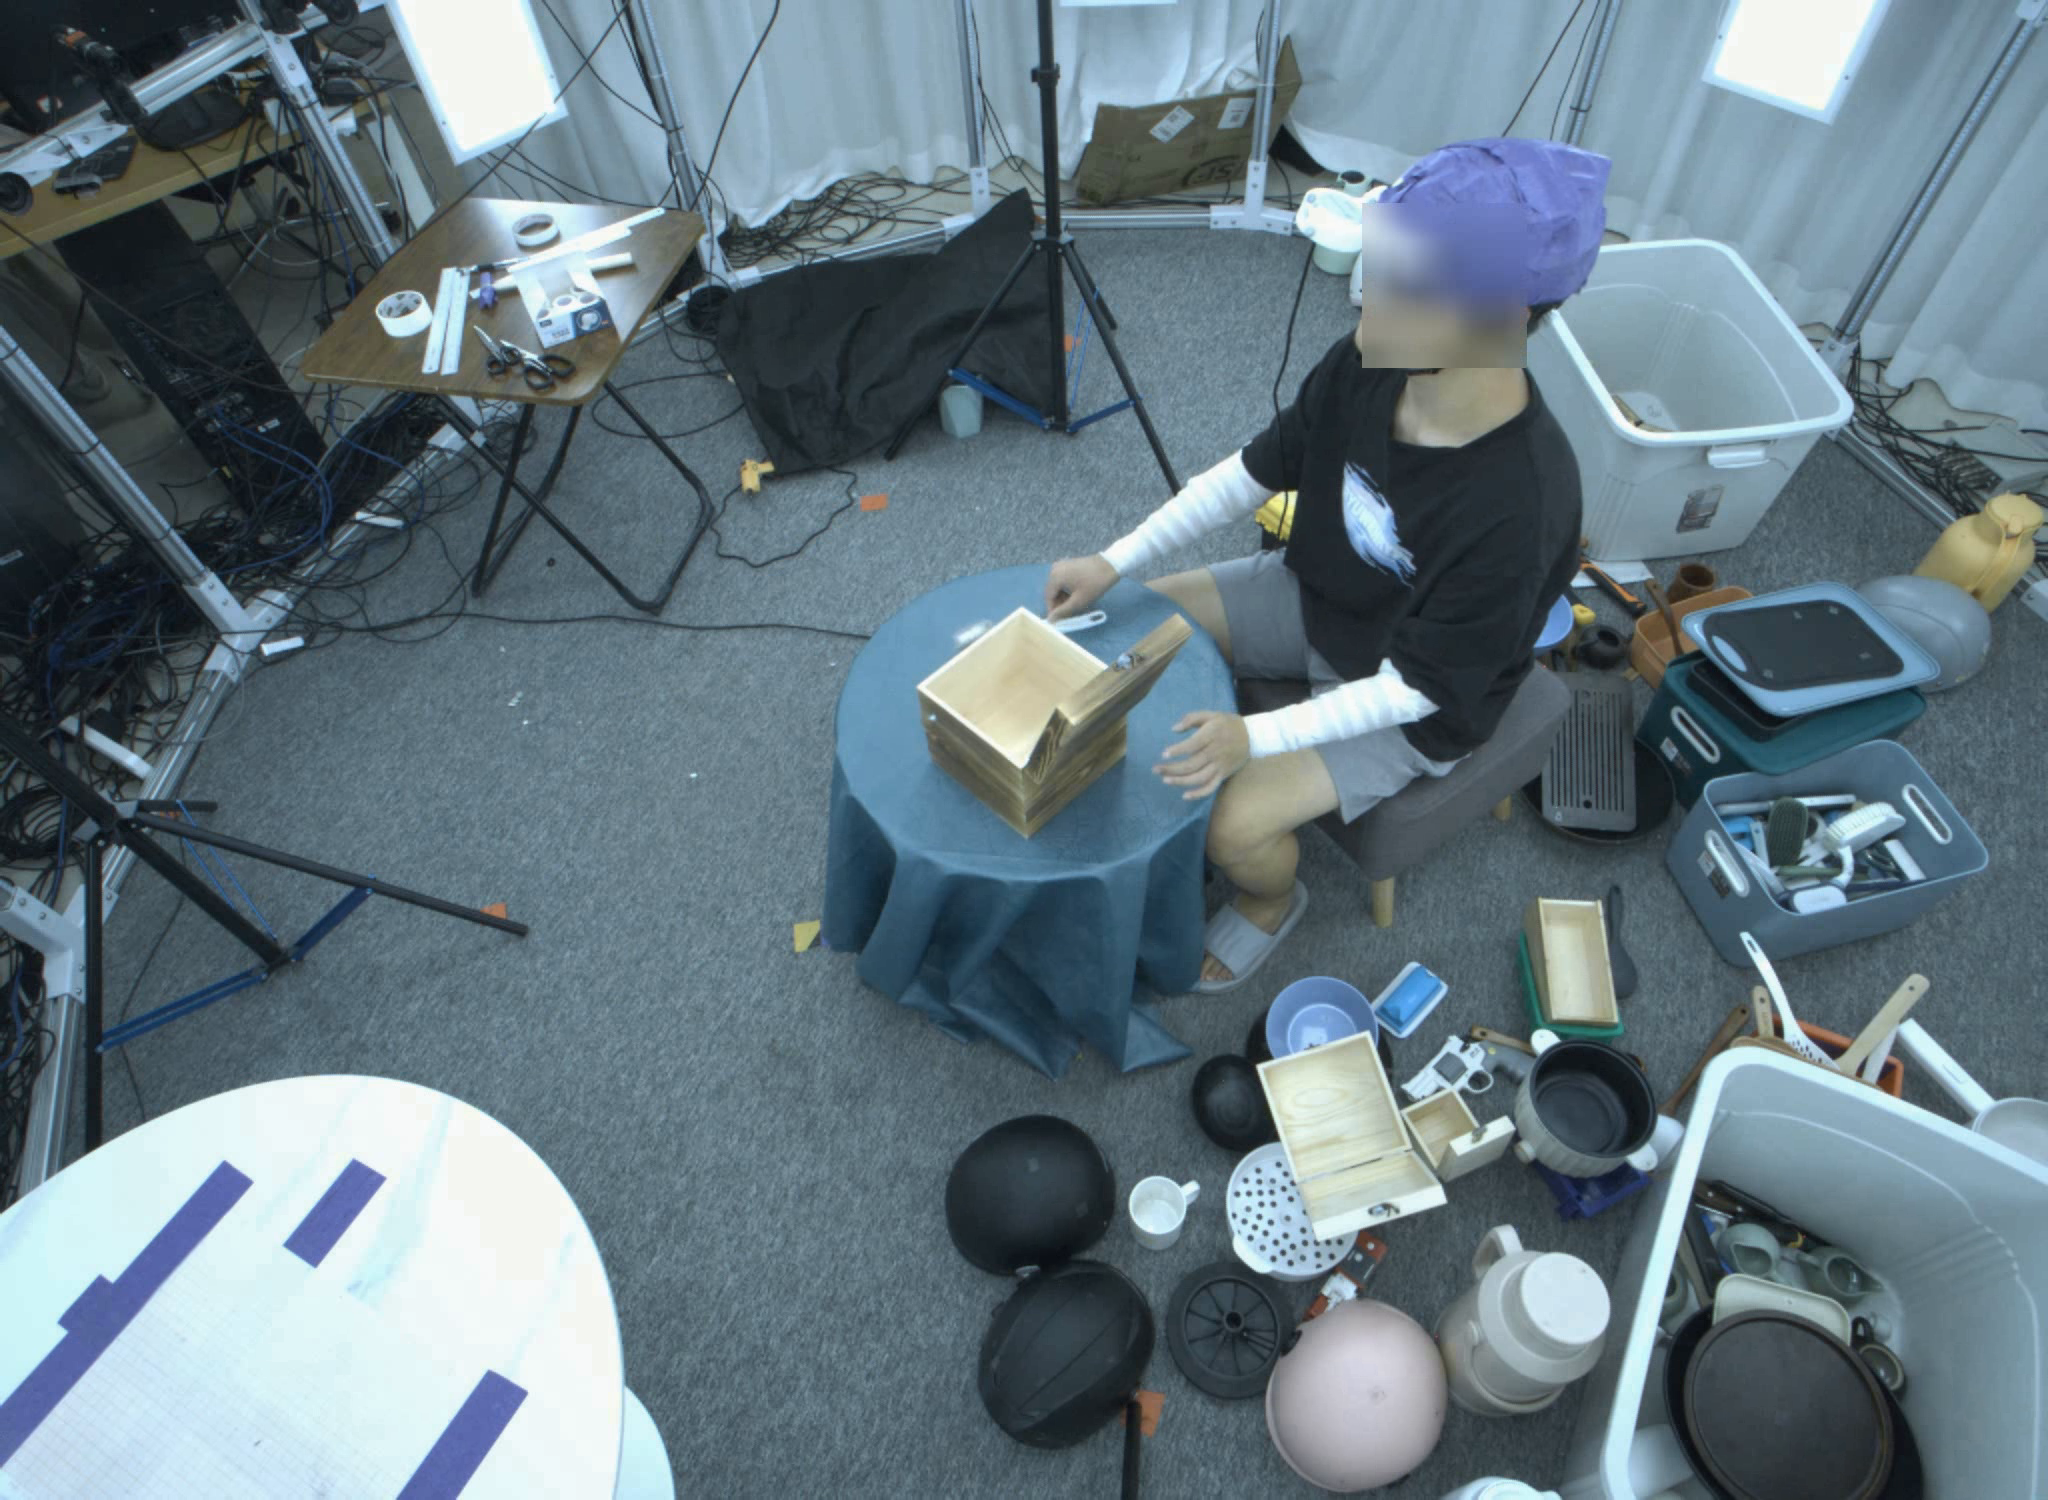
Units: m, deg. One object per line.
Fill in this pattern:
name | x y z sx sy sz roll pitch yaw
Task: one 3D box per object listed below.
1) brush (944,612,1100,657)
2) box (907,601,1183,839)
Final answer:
brush | -0.002 -0.191 1.884 0.245 0.051 0.034 -14 51 -8
box | 0.021 -0.072 1.604 0.316 0.379 0.210 37 63 26
